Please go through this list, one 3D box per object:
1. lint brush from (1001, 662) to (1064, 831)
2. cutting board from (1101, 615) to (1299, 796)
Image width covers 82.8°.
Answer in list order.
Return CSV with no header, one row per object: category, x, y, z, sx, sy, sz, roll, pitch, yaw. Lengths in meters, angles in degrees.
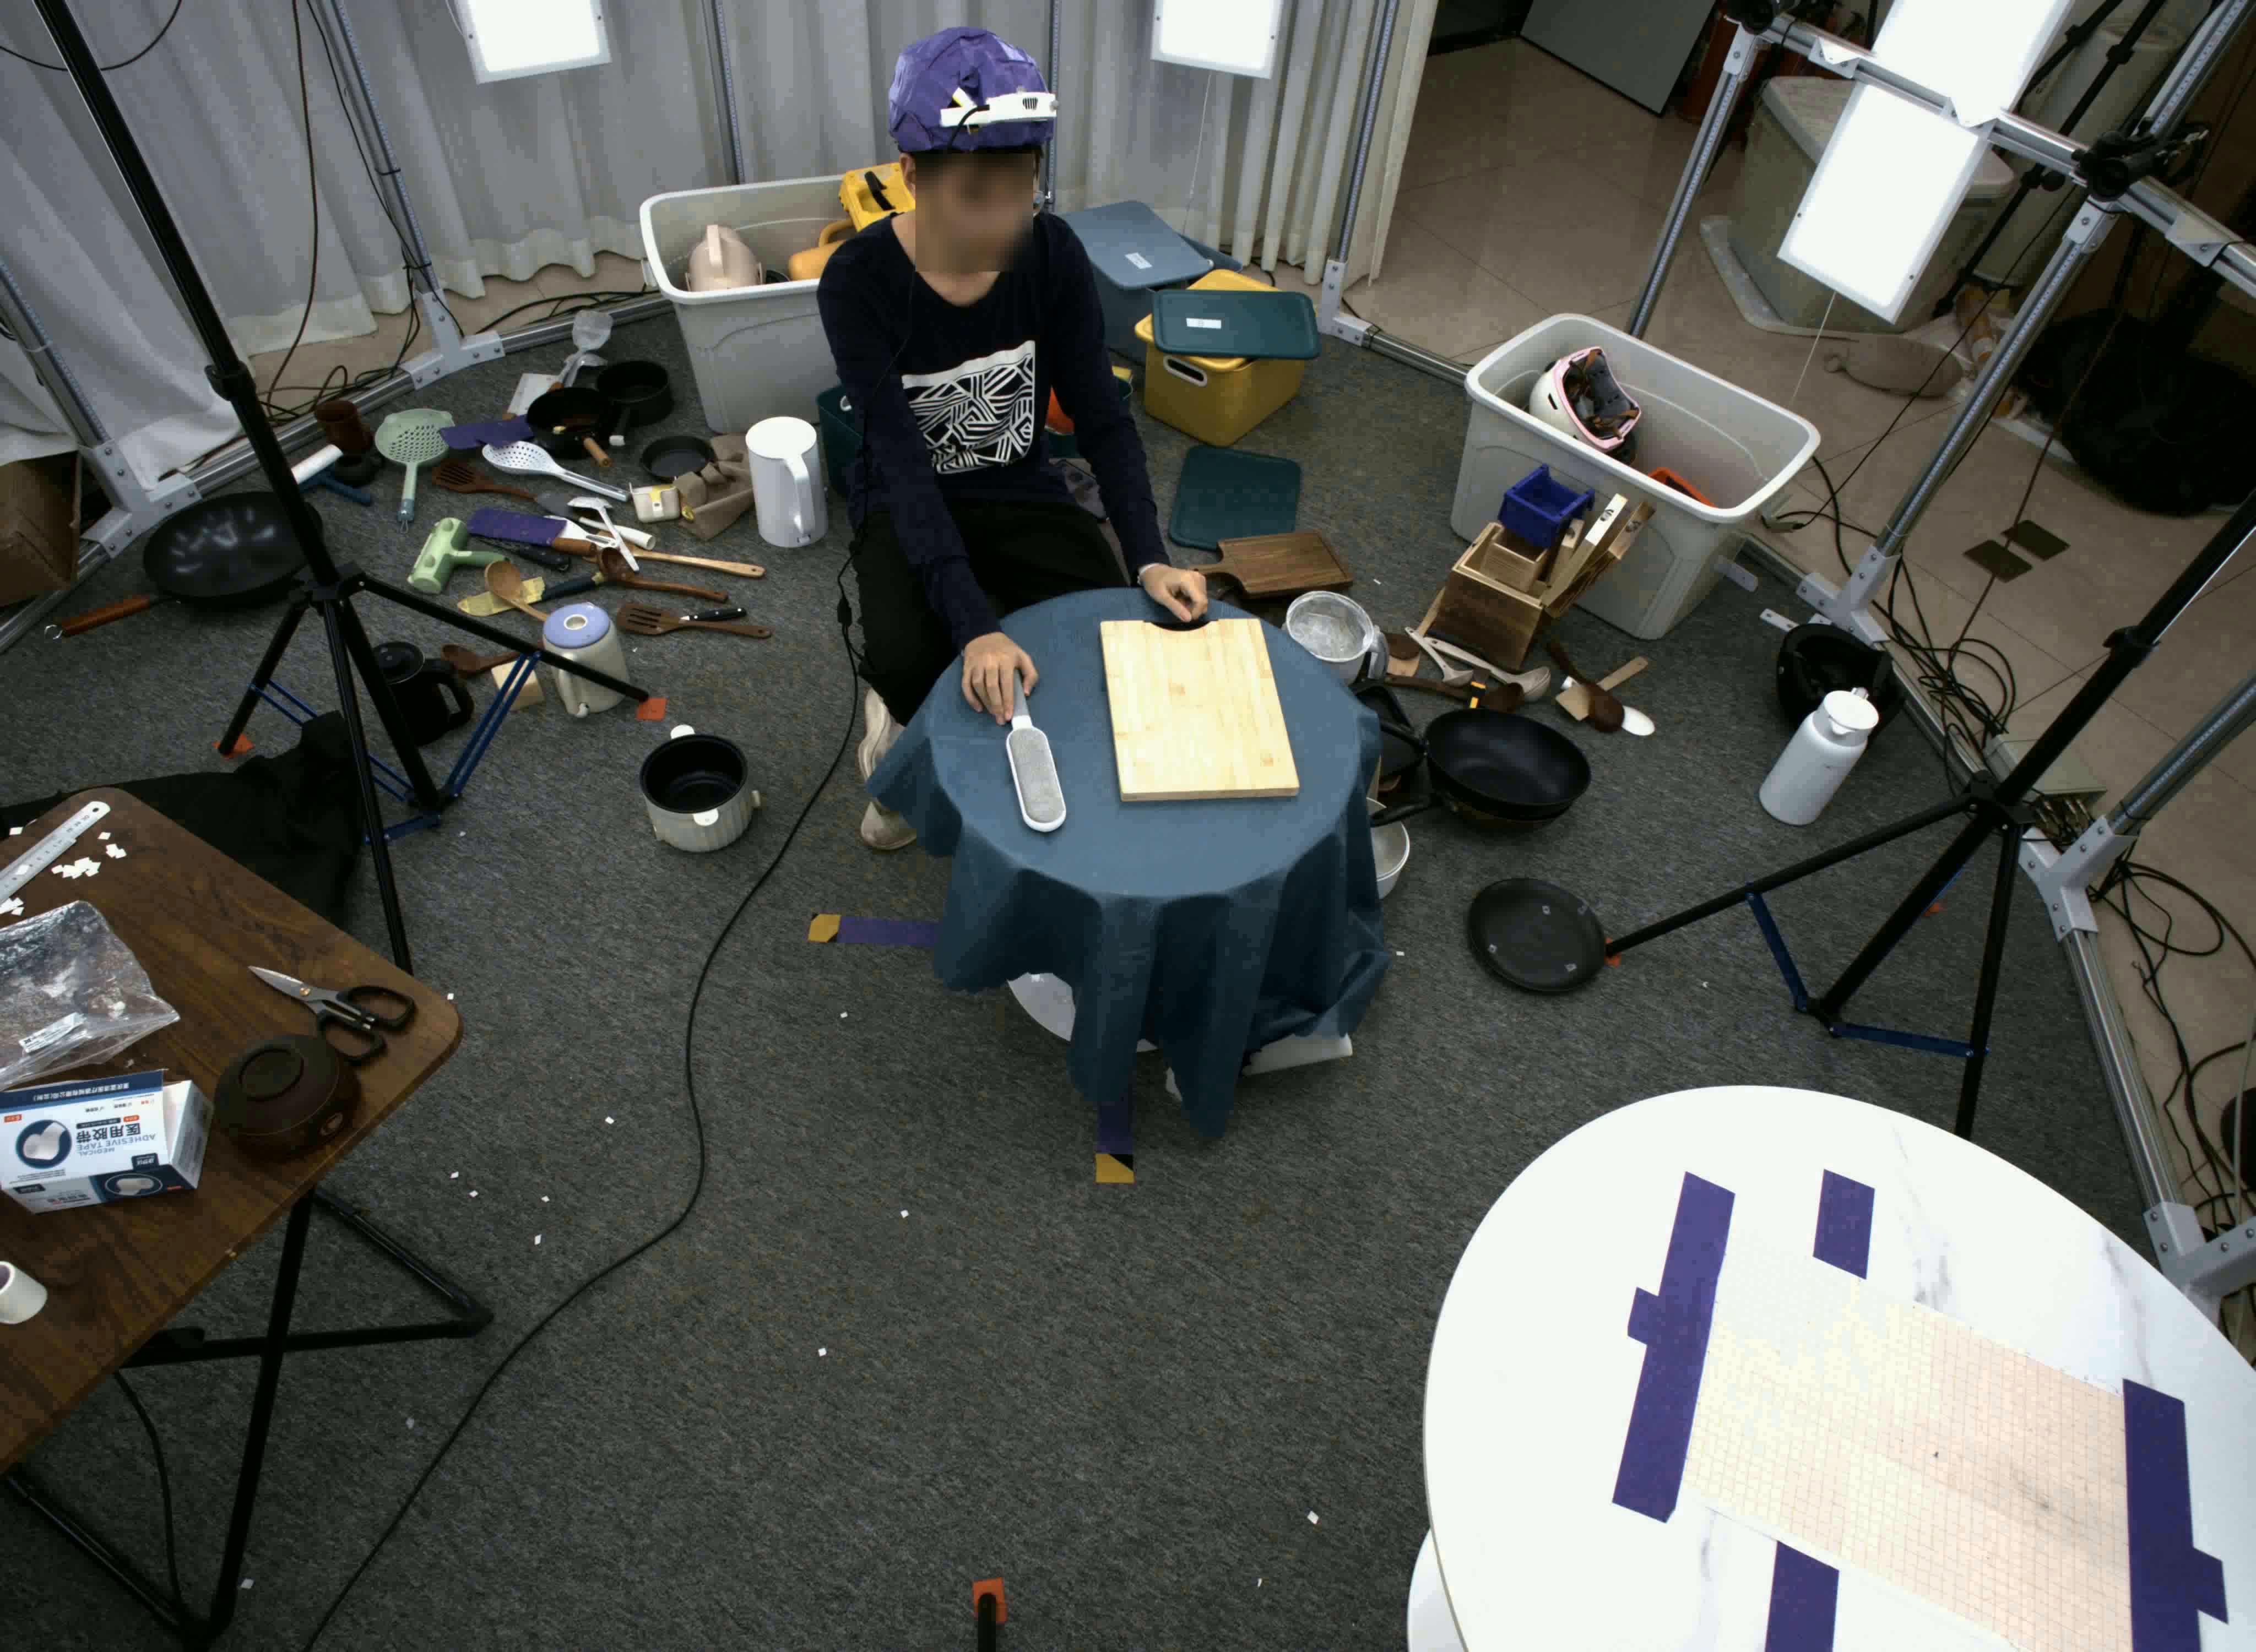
lint brush,-0.136,-0.115,1.740,0.060,0.020,0.317,-11,50,-6
cutting board,0.094,-0.176,1.817,0.250,0.023,0.357,-2,49,-6
